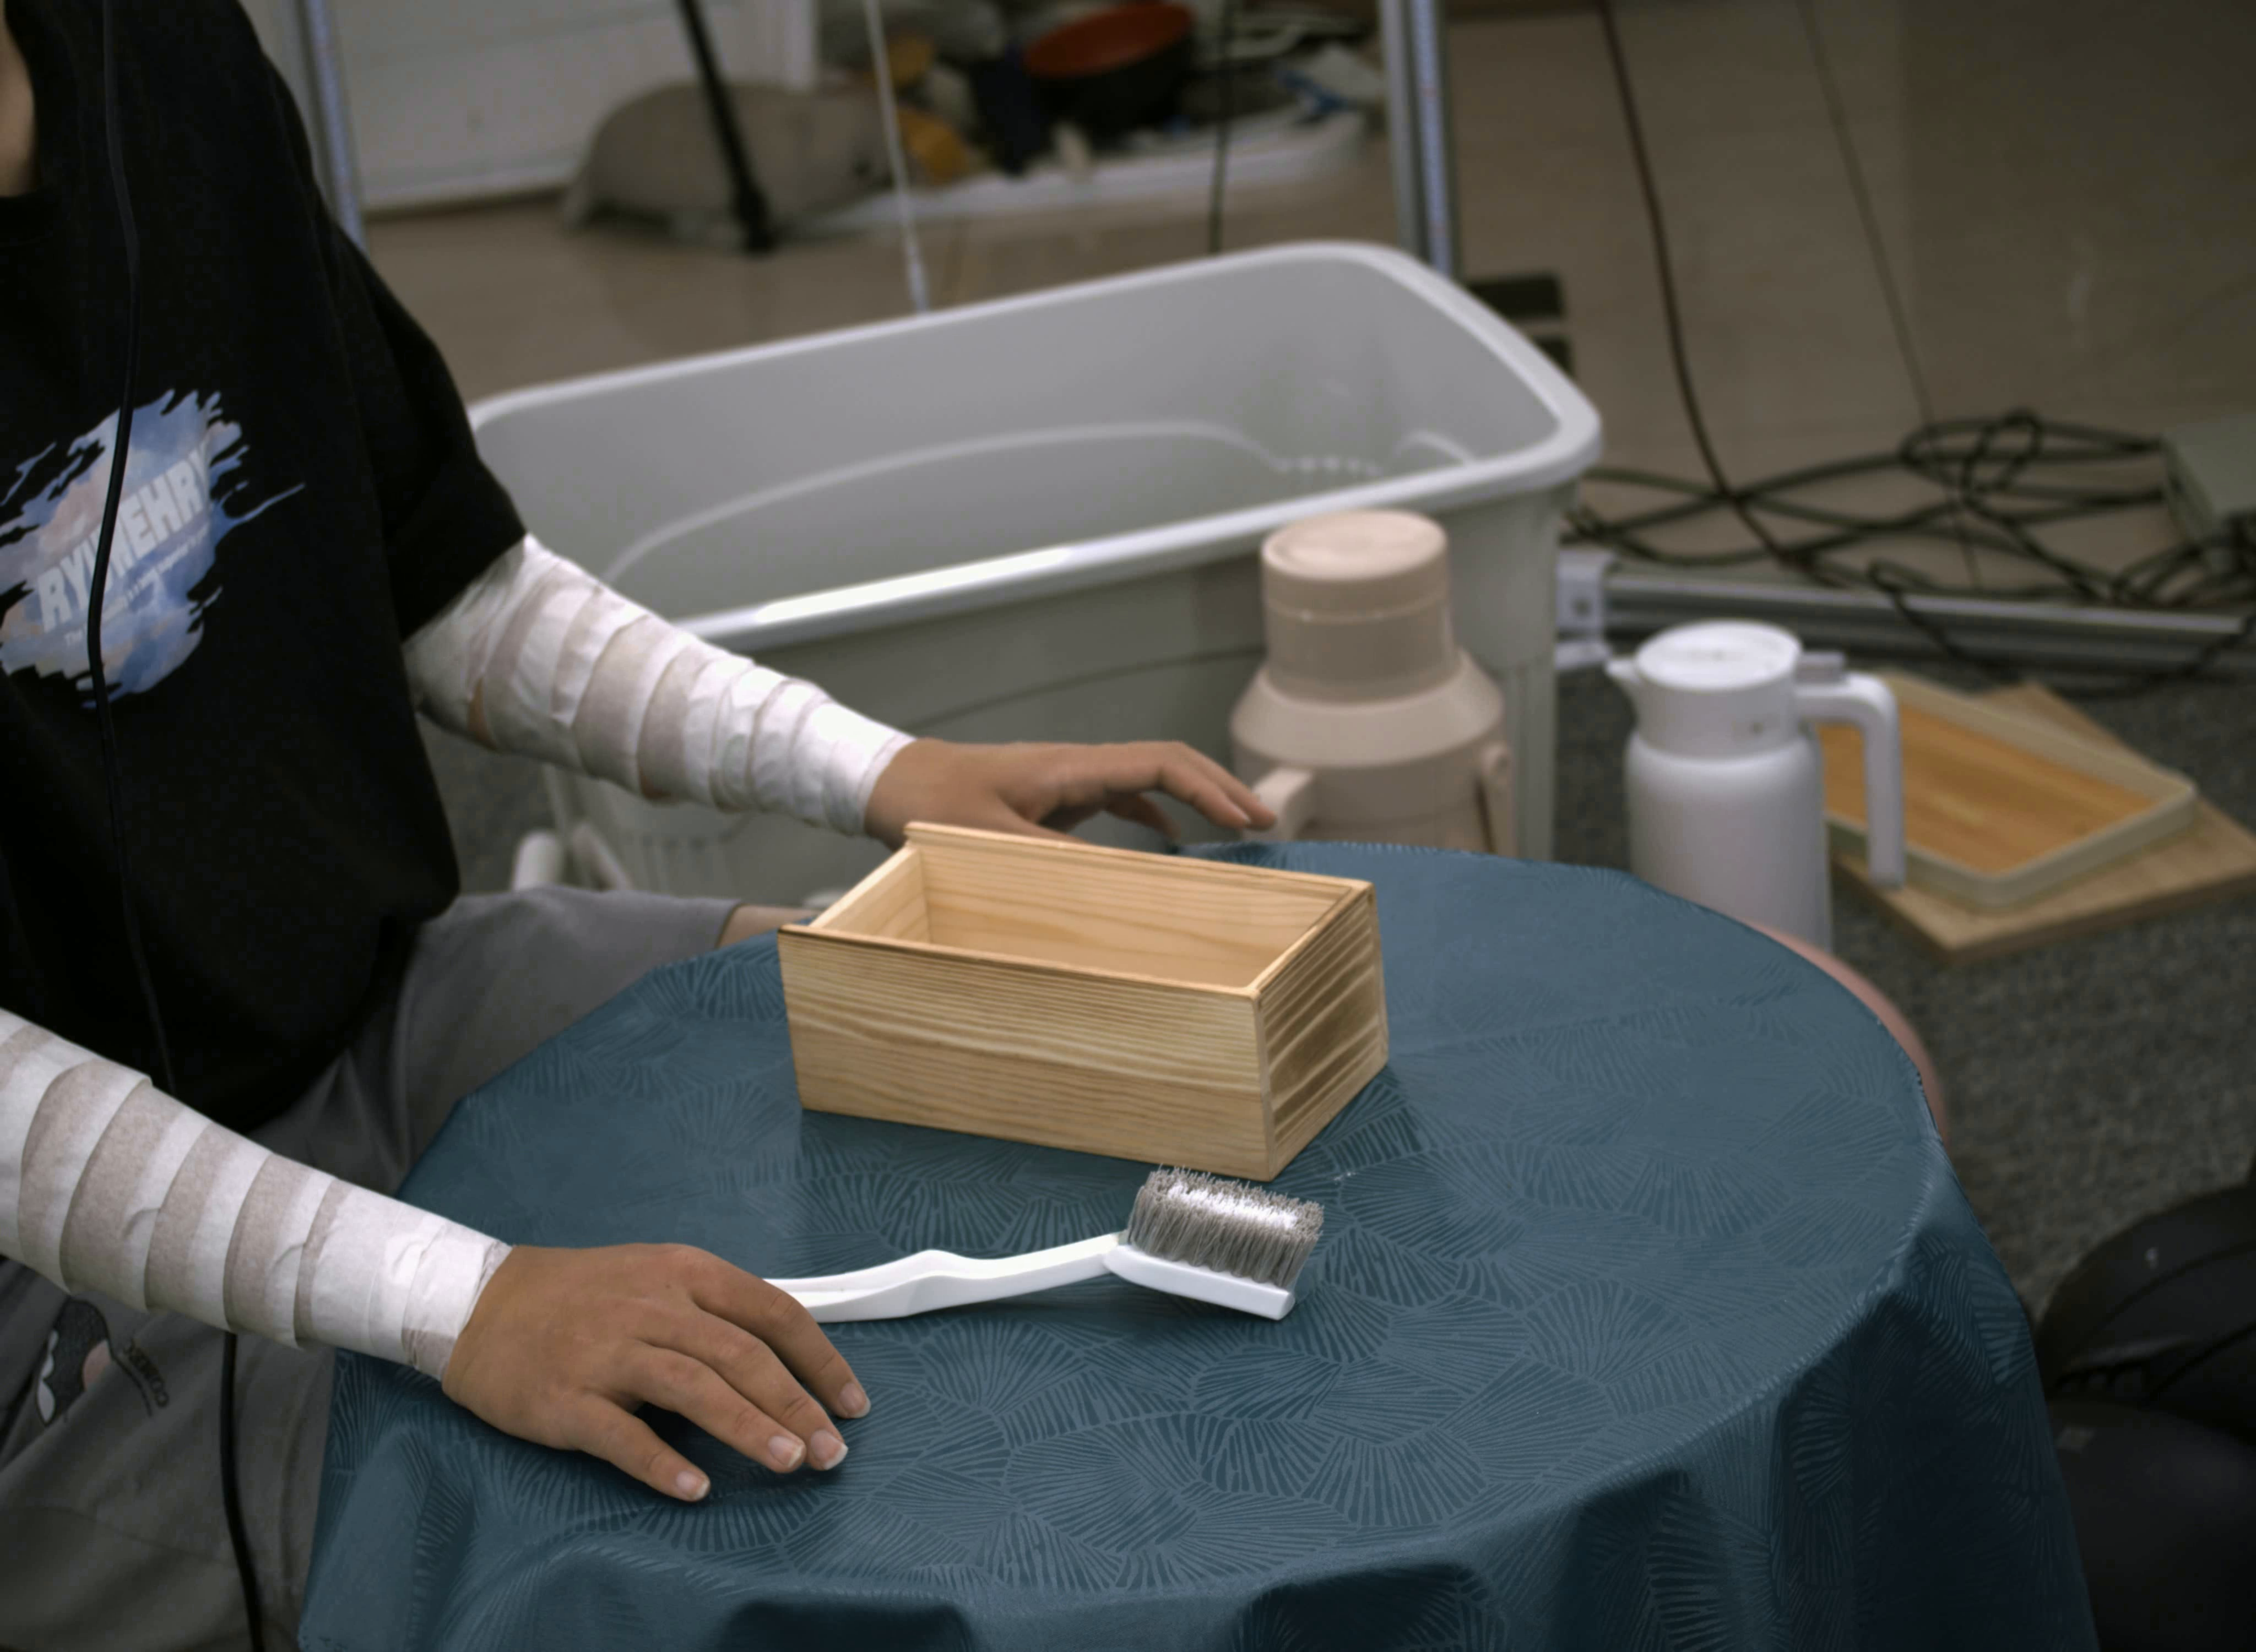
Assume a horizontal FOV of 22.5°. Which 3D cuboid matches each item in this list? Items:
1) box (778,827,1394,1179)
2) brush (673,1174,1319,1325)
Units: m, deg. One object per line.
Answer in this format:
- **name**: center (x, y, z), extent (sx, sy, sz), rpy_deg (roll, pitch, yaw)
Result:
- **box**: center (-0.016, 0.067, 2.212), extent (0.210, 0.081, 0.106), rpy_deg (6, 28, 28)
- **brush**: center (-0.051, 0.153, 2.070), extent (0.243, 0.051, 0.034), rpy_deg (0, 26, 12)
